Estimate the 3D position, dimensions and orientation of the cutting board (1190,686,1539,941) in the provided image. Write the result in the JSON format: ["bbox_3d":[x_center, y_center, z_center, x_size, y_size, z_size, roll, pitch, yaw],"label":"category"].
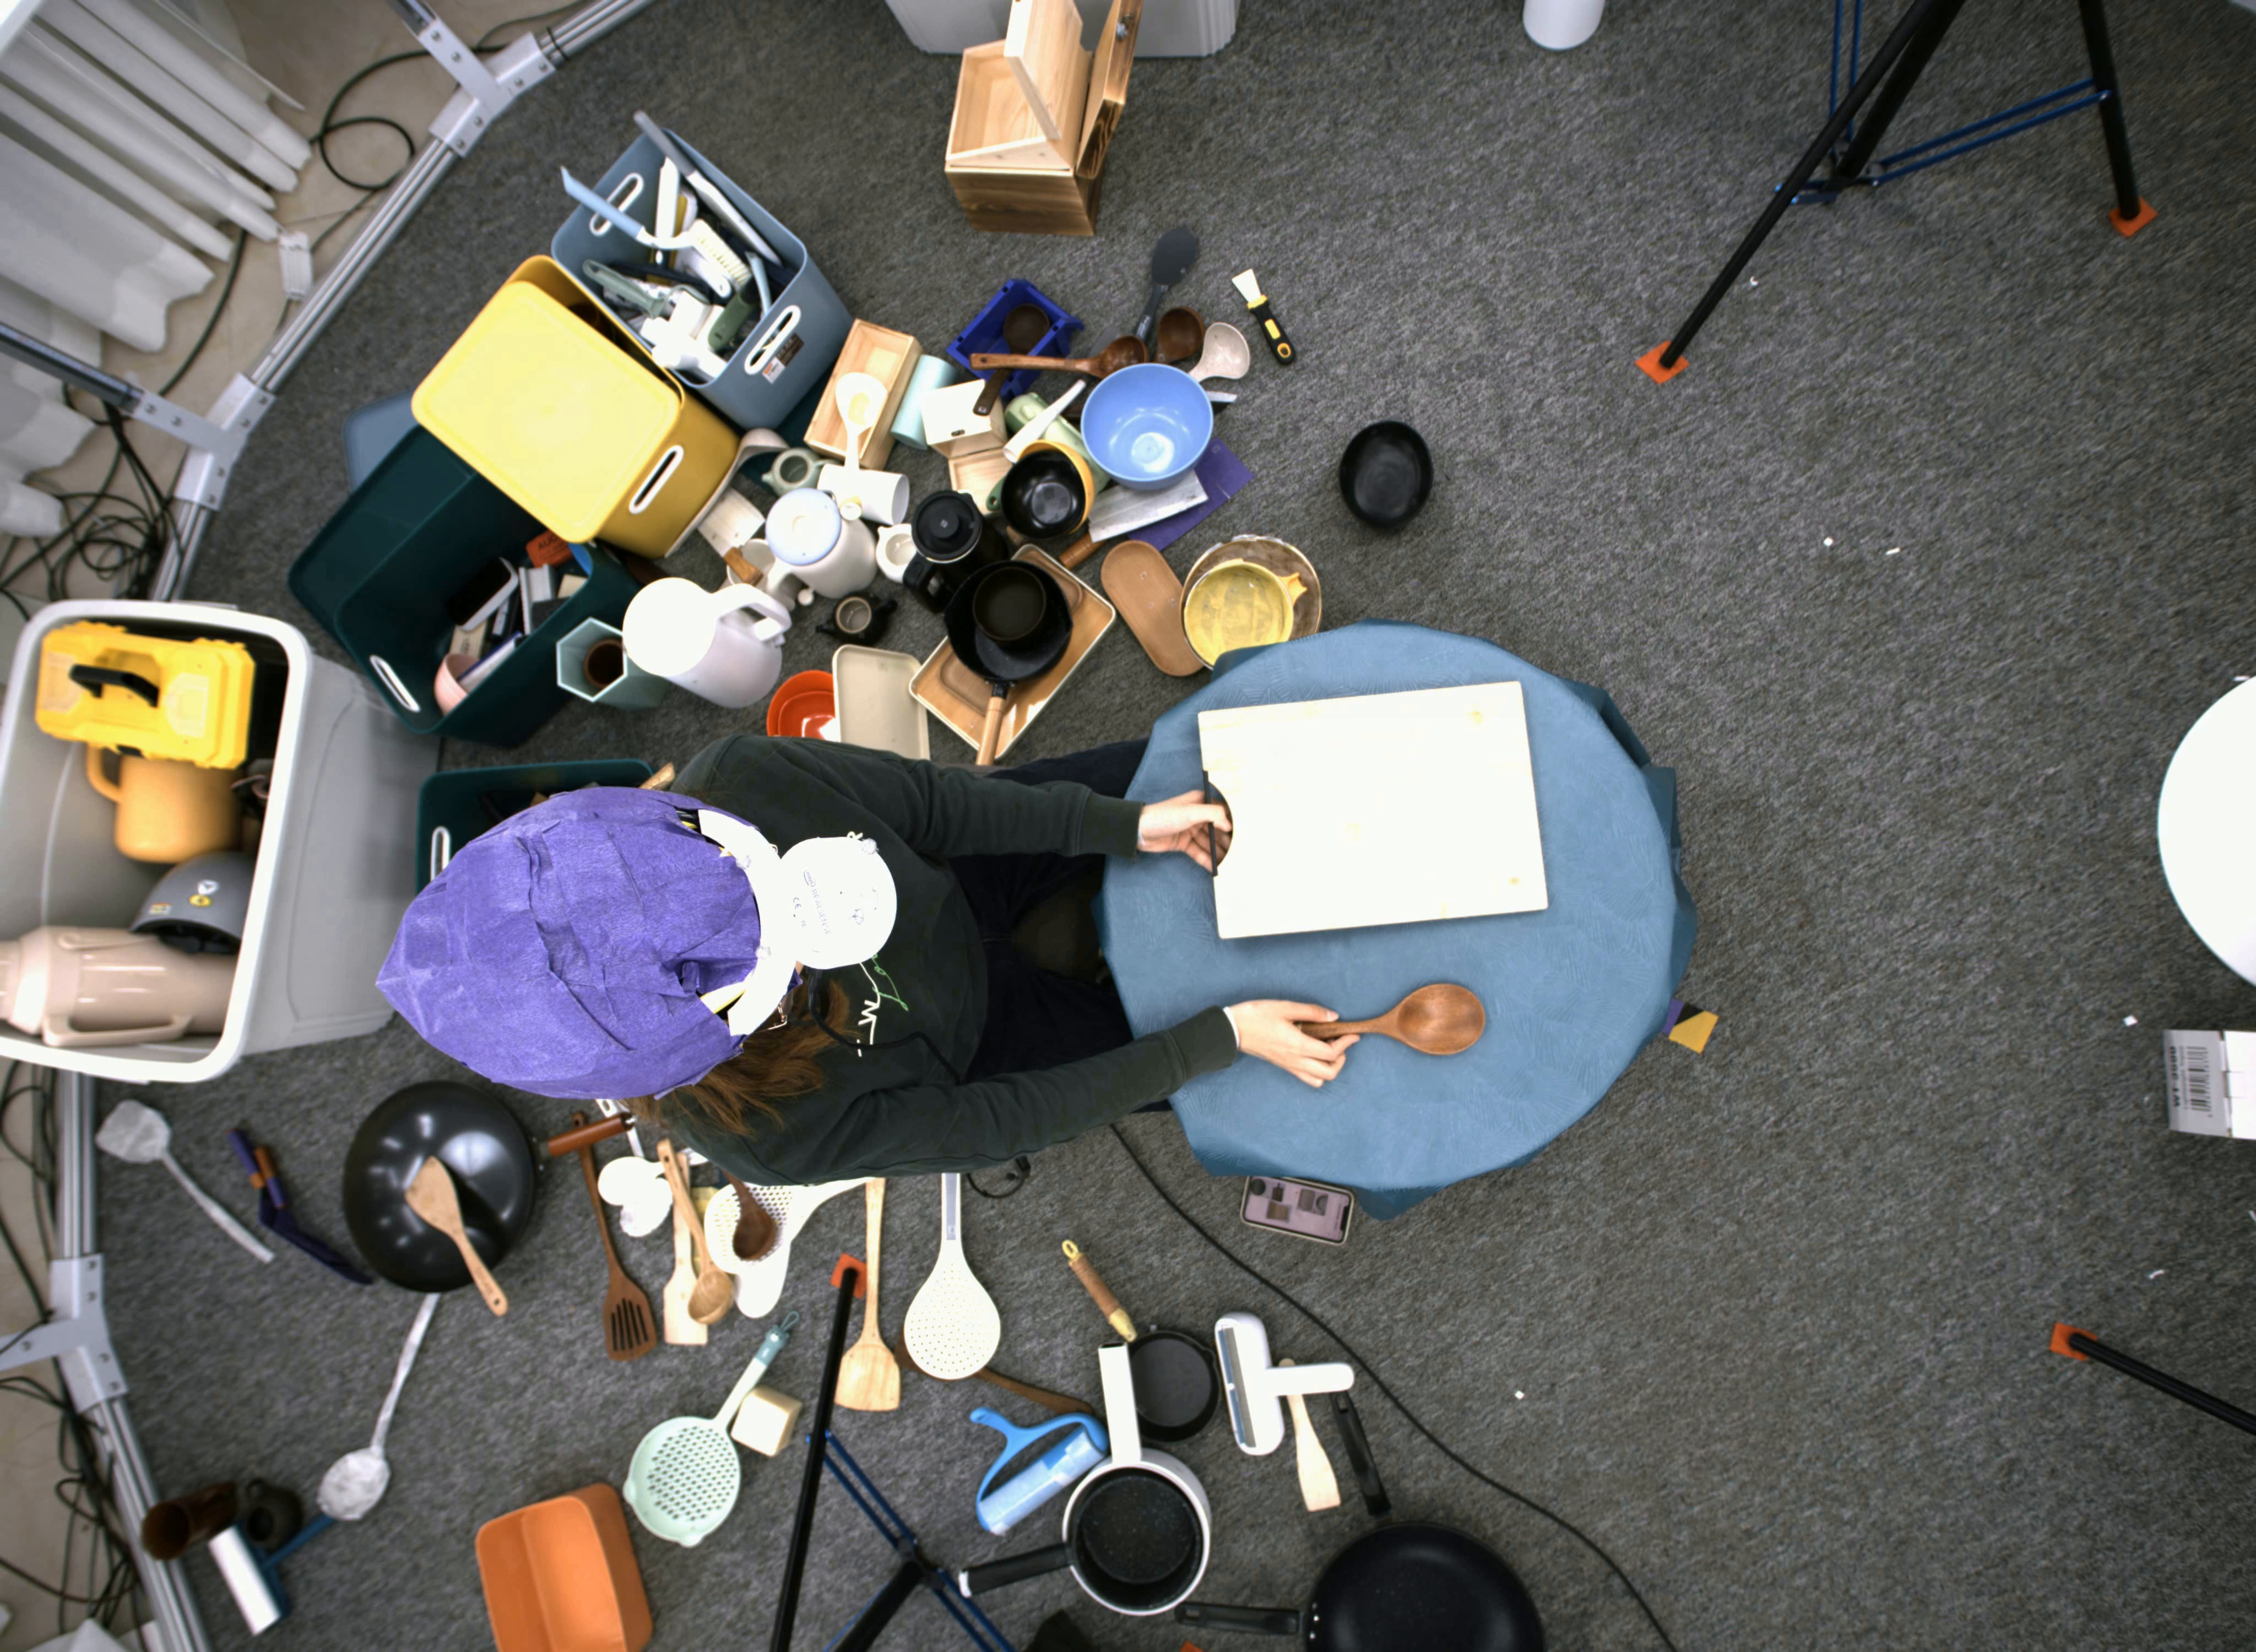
[{"bbox_3d":[0.249,-0.015,1.446,0.349,0.023,0.249,-6,84,3],"label":"cutting board"}]

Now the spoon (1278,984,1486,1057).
[{"bbox_3d":[0.264,0.208,1.445,0.217,0.017,0.075,-7,87,7],"label":"spoon"}]
